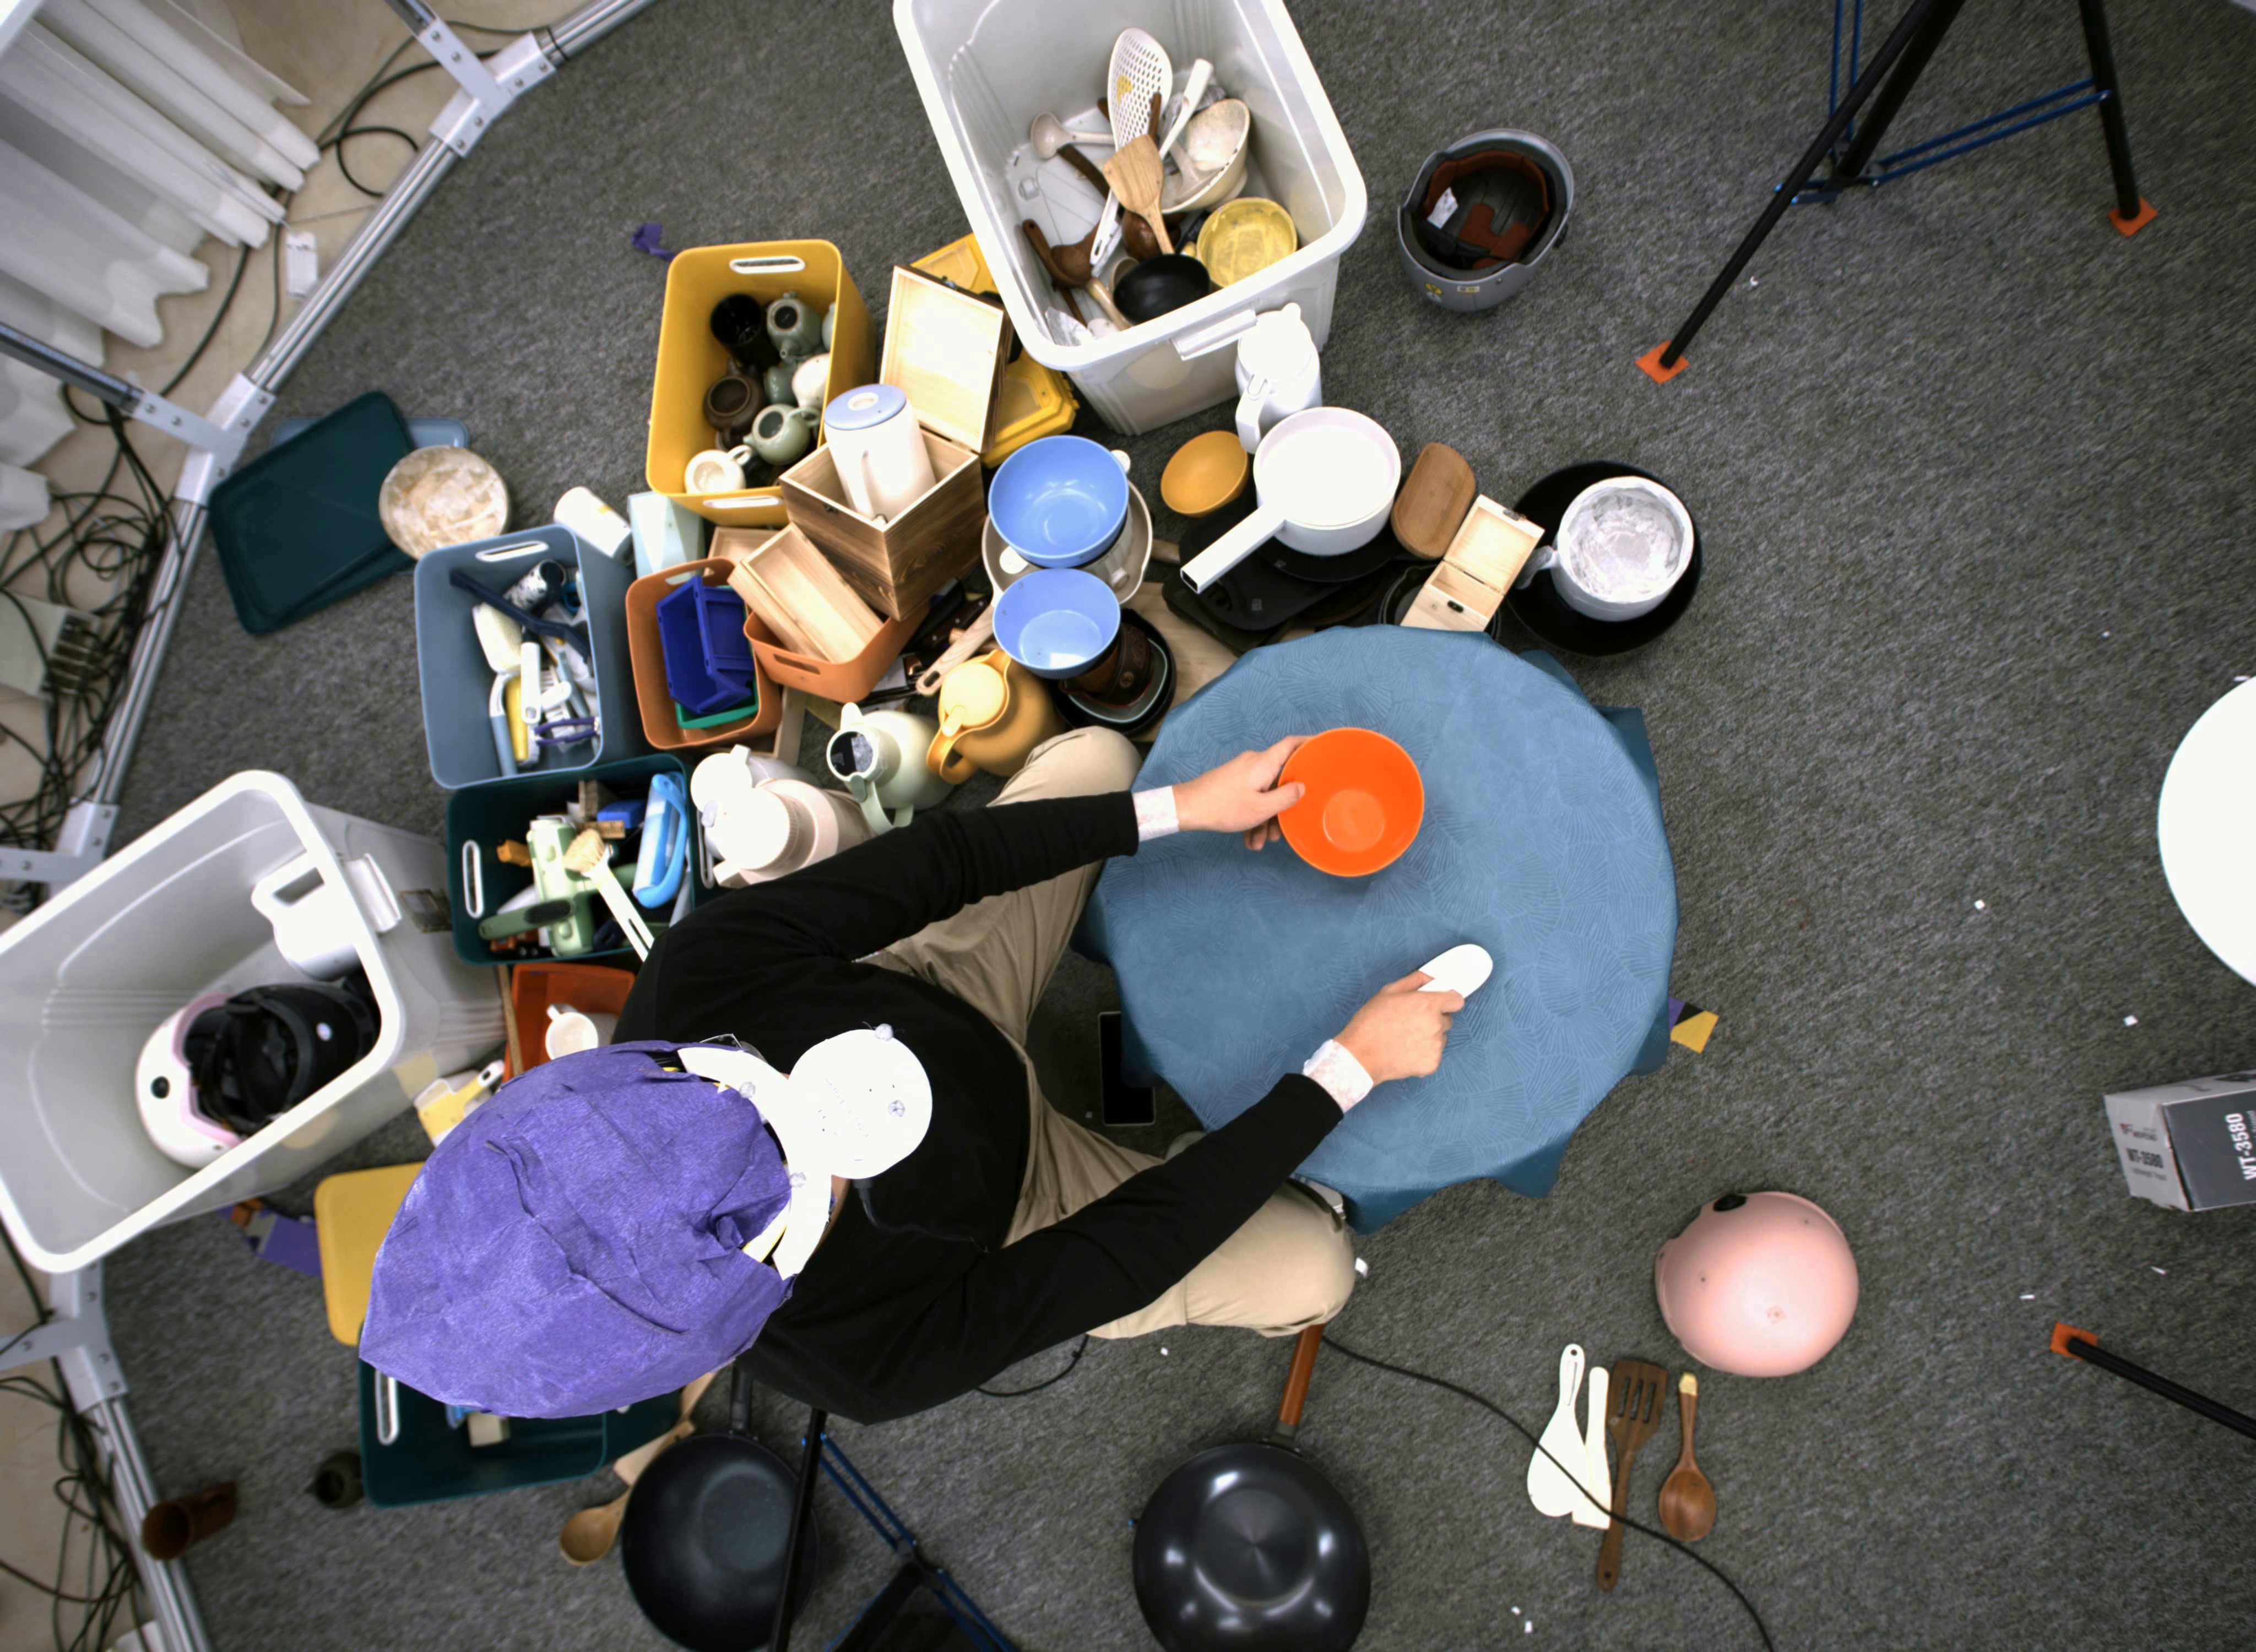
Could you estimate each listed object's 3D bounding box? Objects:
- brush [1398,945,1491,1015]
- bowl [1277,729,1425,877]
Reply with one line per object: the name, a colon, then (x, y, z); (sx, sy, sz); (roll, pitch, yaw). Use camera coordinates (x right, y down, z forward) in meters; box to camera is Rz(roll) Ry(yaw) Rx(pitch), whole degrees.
brush: (0.323, 0.156, 1.407); (0.099, 0.072, 0.050); (-30, 82, 5)
bowl: (0.231, -0.021, 1.424); (0.148, 0.104, 0.147); (-1, 87, 11)
